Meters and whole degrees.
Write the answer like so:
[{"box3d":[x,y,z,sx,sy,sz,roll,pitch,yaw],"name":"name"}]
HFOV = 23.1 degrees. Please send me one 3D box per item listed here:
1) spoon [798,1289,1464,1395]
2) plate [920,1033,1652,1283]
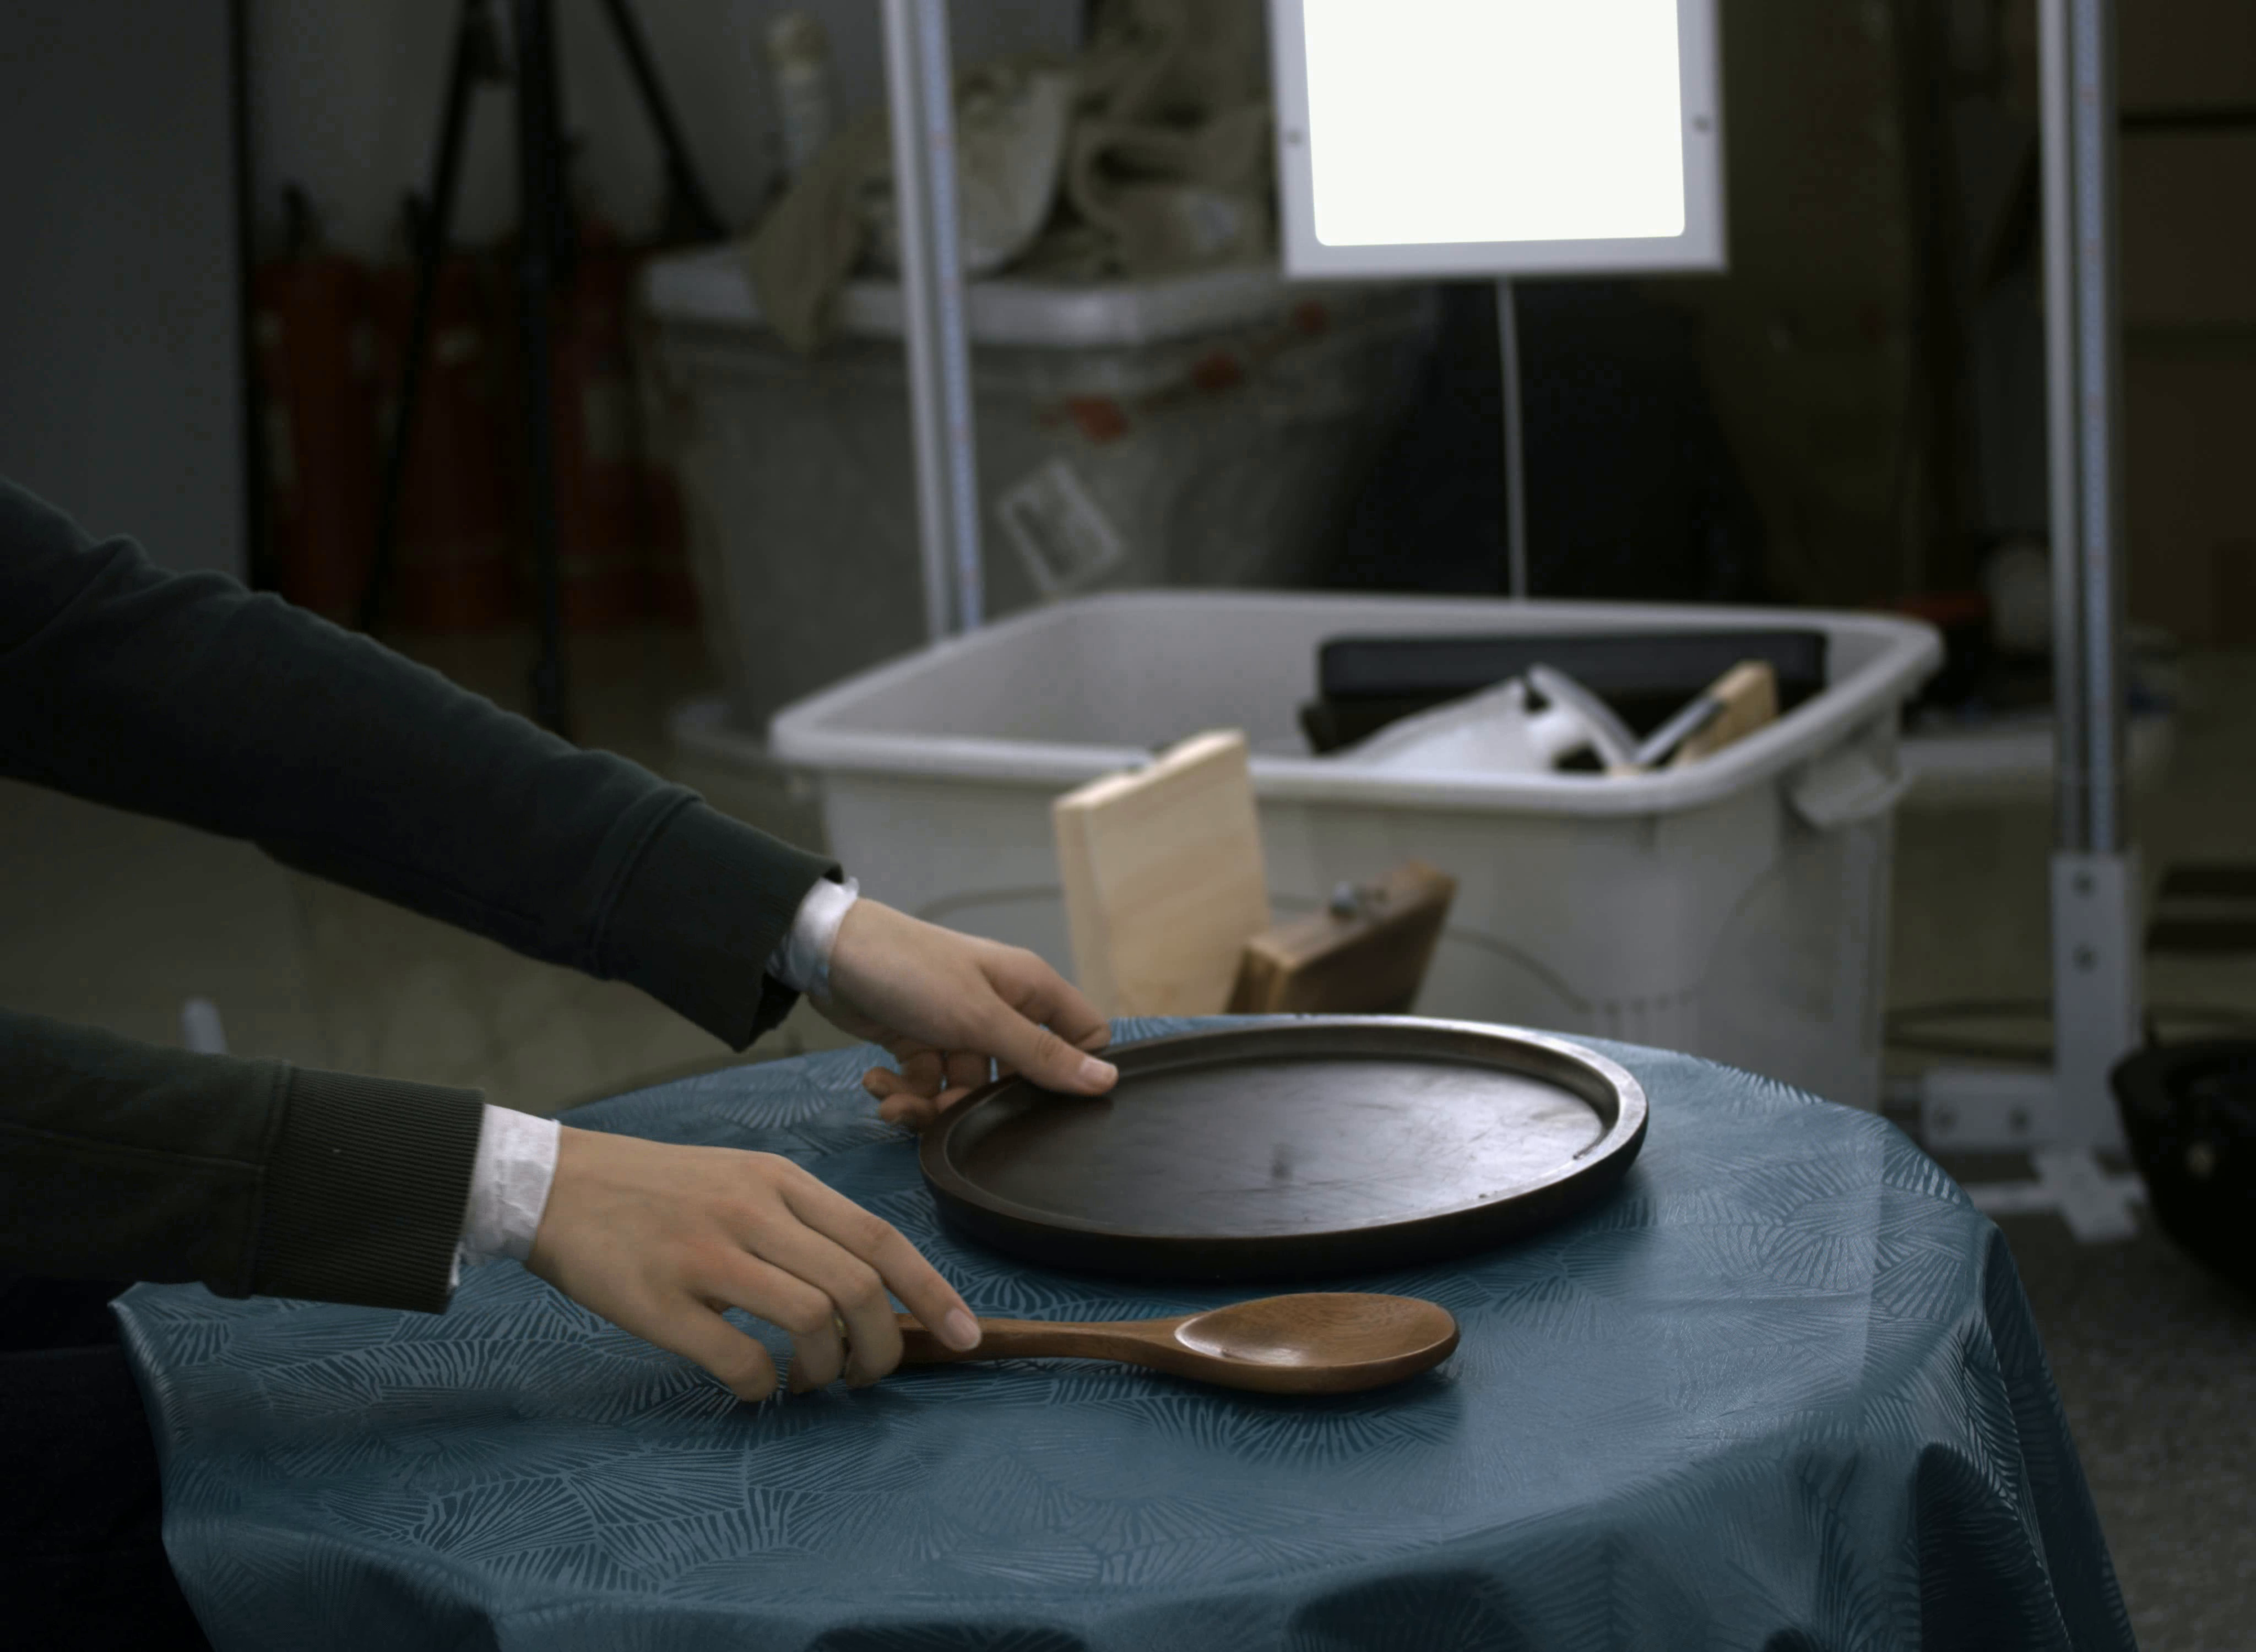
[{"box3d":[0.000,0.161,1.720,0.218,0.017,0.074,0,15,19],"name":"spoon"},{"box3d":[0.054,0.111,1.894,0.254,0.029,0.254,-4,13,0],"name":"plate"}]
